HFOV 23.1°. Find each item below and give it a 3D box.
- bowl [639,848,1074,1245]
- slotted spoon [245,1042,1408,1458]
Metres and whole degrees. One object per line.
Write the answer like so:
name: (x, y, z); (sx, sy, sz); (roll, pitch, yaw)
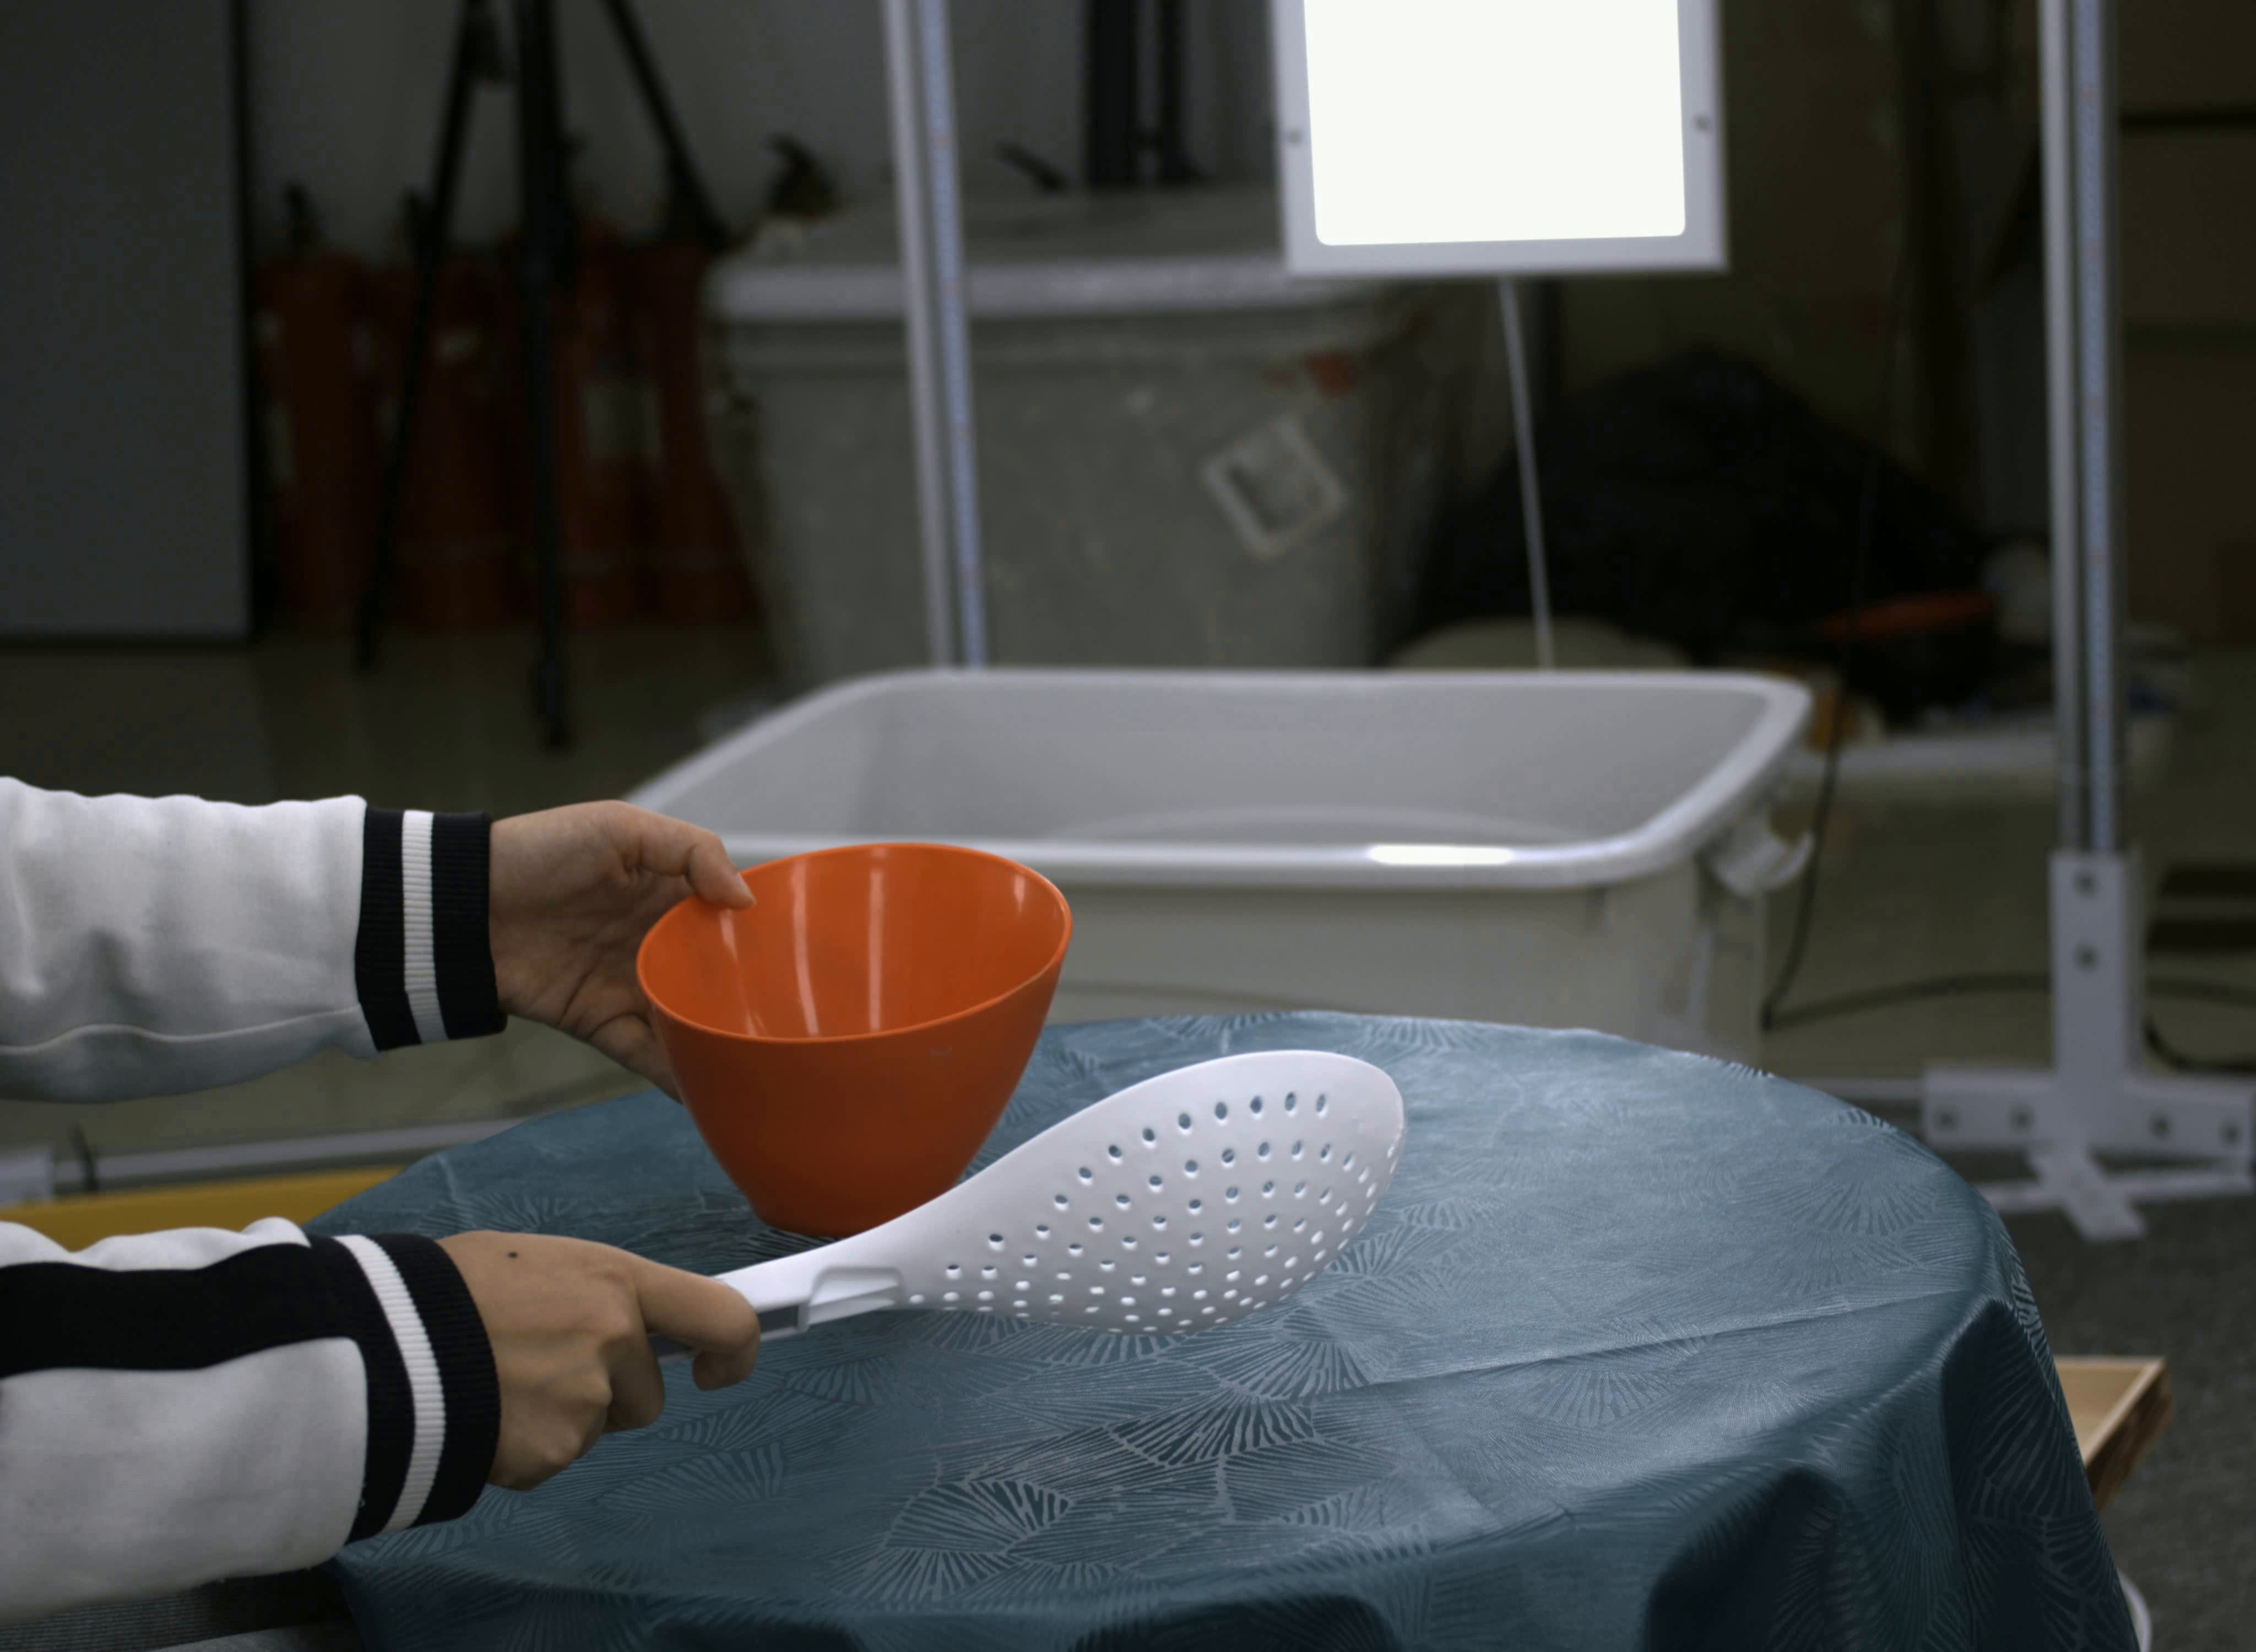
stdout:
bowl: (-0.091, 0.079, 1.869); (0.147, 0.105, 0.148); (-2, 17, -1)
slotted spoon: (-0.082, 0.132, 1.596); (0.346, 0.137, 0.046); (-8, 56, -8)
